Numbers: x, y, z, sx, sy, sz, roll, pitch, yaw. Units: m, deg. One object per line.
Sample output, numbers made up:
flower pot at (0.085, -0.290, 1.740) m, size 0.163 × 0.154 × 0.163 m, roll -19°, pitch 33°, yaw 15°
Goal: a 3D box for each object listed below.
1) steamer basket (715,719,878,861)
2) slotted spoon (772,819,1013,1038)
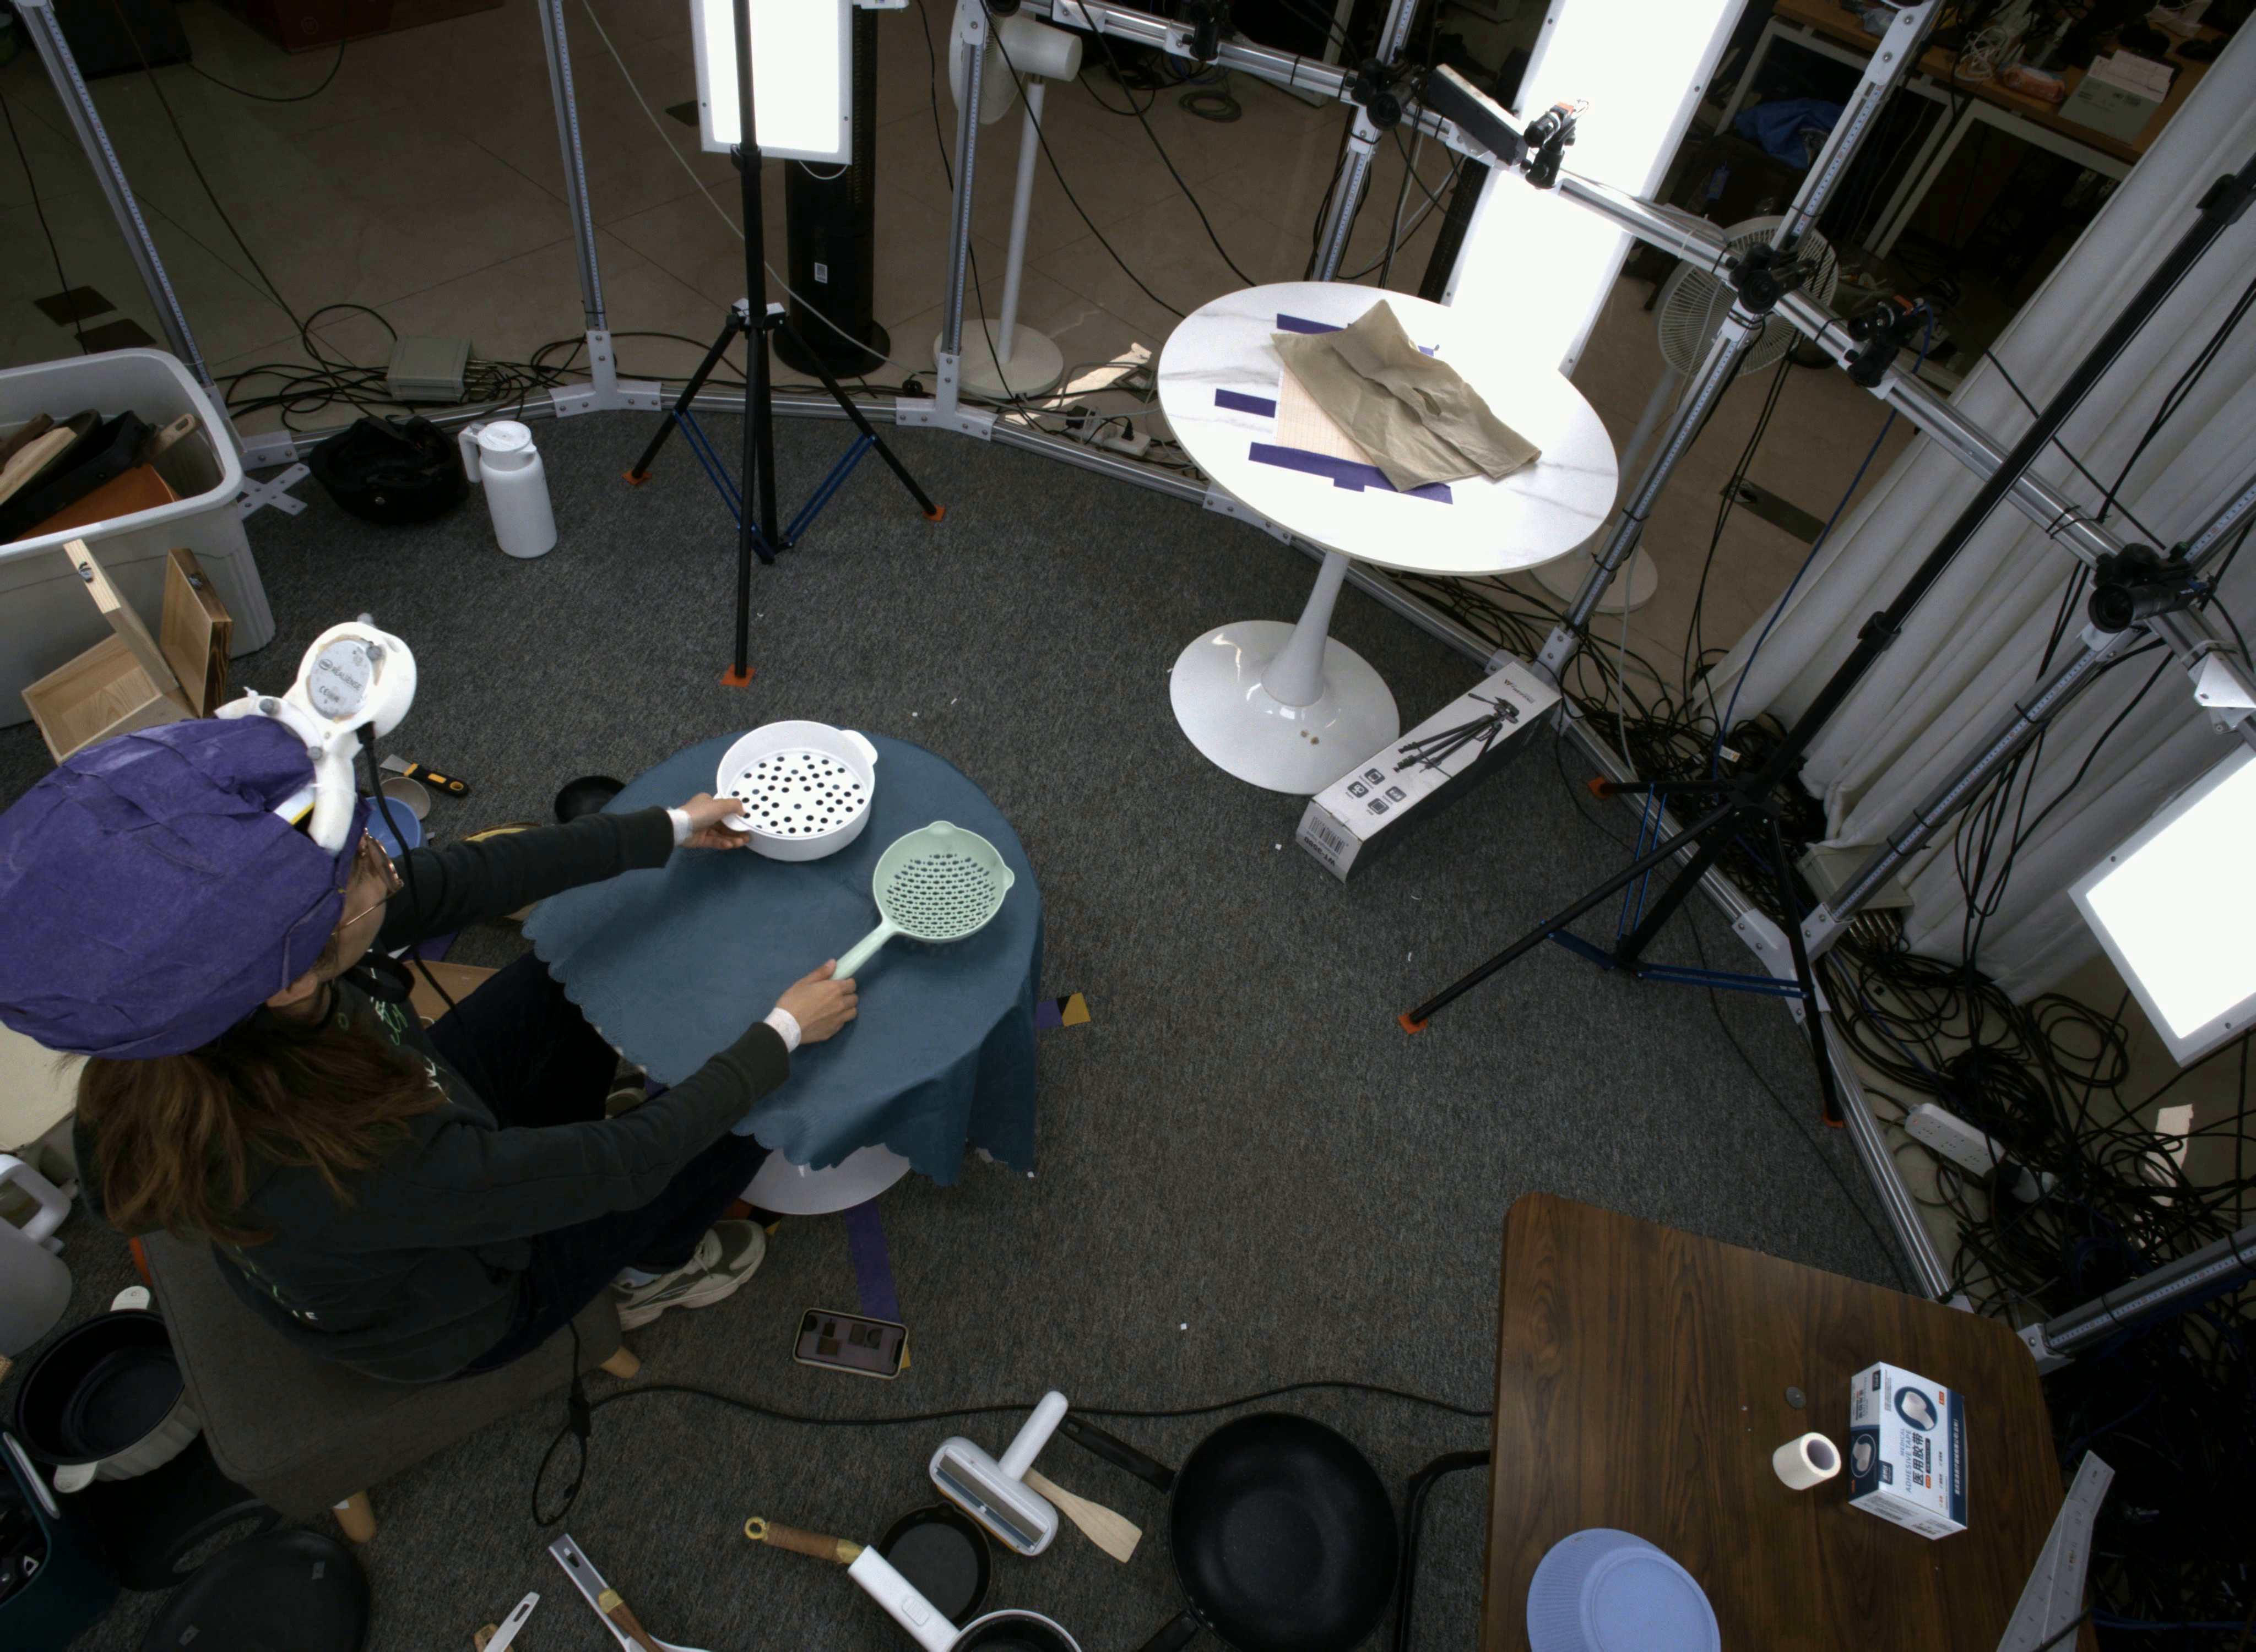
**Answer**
steamer basket at (-0.436, -0.047, 1.720) m, size 0.231 × 0.071 × 0.197 m, roll -34°, pitch 67°, yaw -32°
slotted spoon at (-0.302, 0.132, 1.616) m, size 0.165 × 0.077 × 0.359 m, roll 37°, pitch 51°, yaw 18°
